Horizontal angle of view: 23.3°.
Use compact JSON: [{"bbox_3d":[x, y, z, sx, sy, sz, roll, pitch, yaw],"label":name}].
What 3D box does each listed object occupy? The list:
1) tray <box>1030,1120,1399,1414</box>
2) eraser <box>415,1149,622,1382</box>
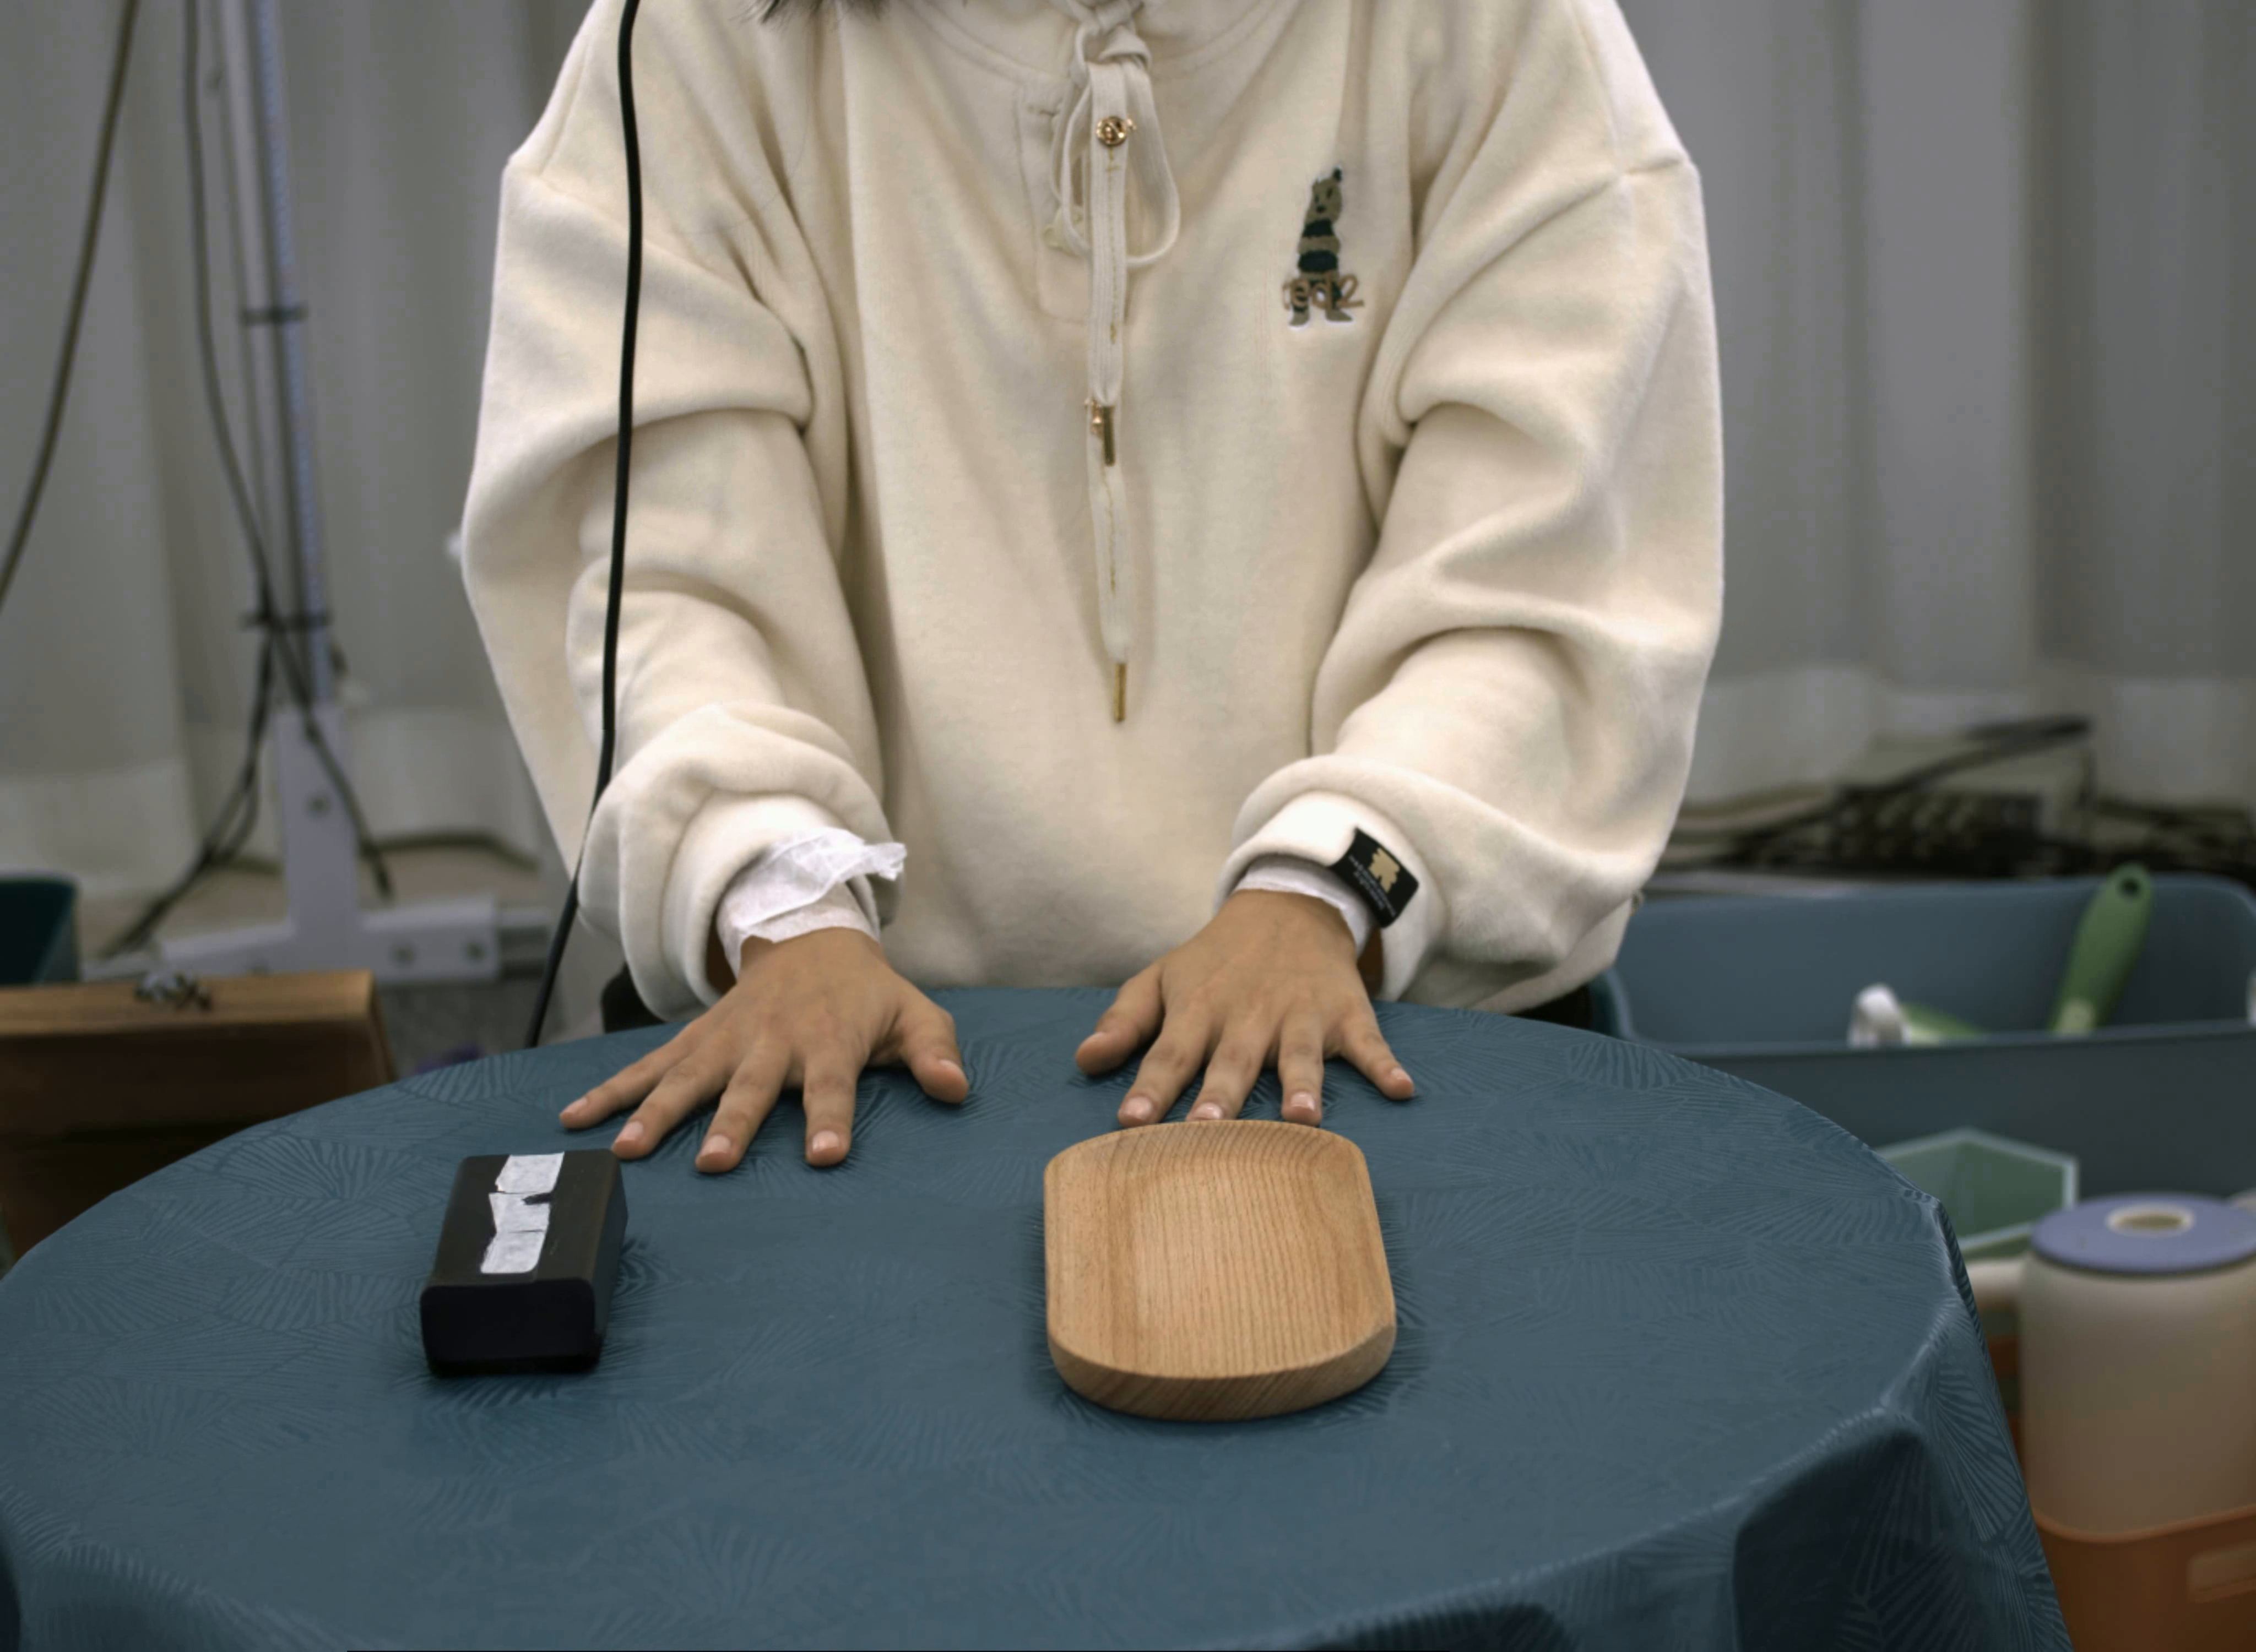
[{"bbox_3d":[0.024,0.129,1.626,0.101,0.020,0.232,-3,13,-2],"label":"tray"},{"bbox_3d":[-0.181,0.131,1.634,0.053,0.030,0.126,2,15,-3],"label":"eraser"}]
